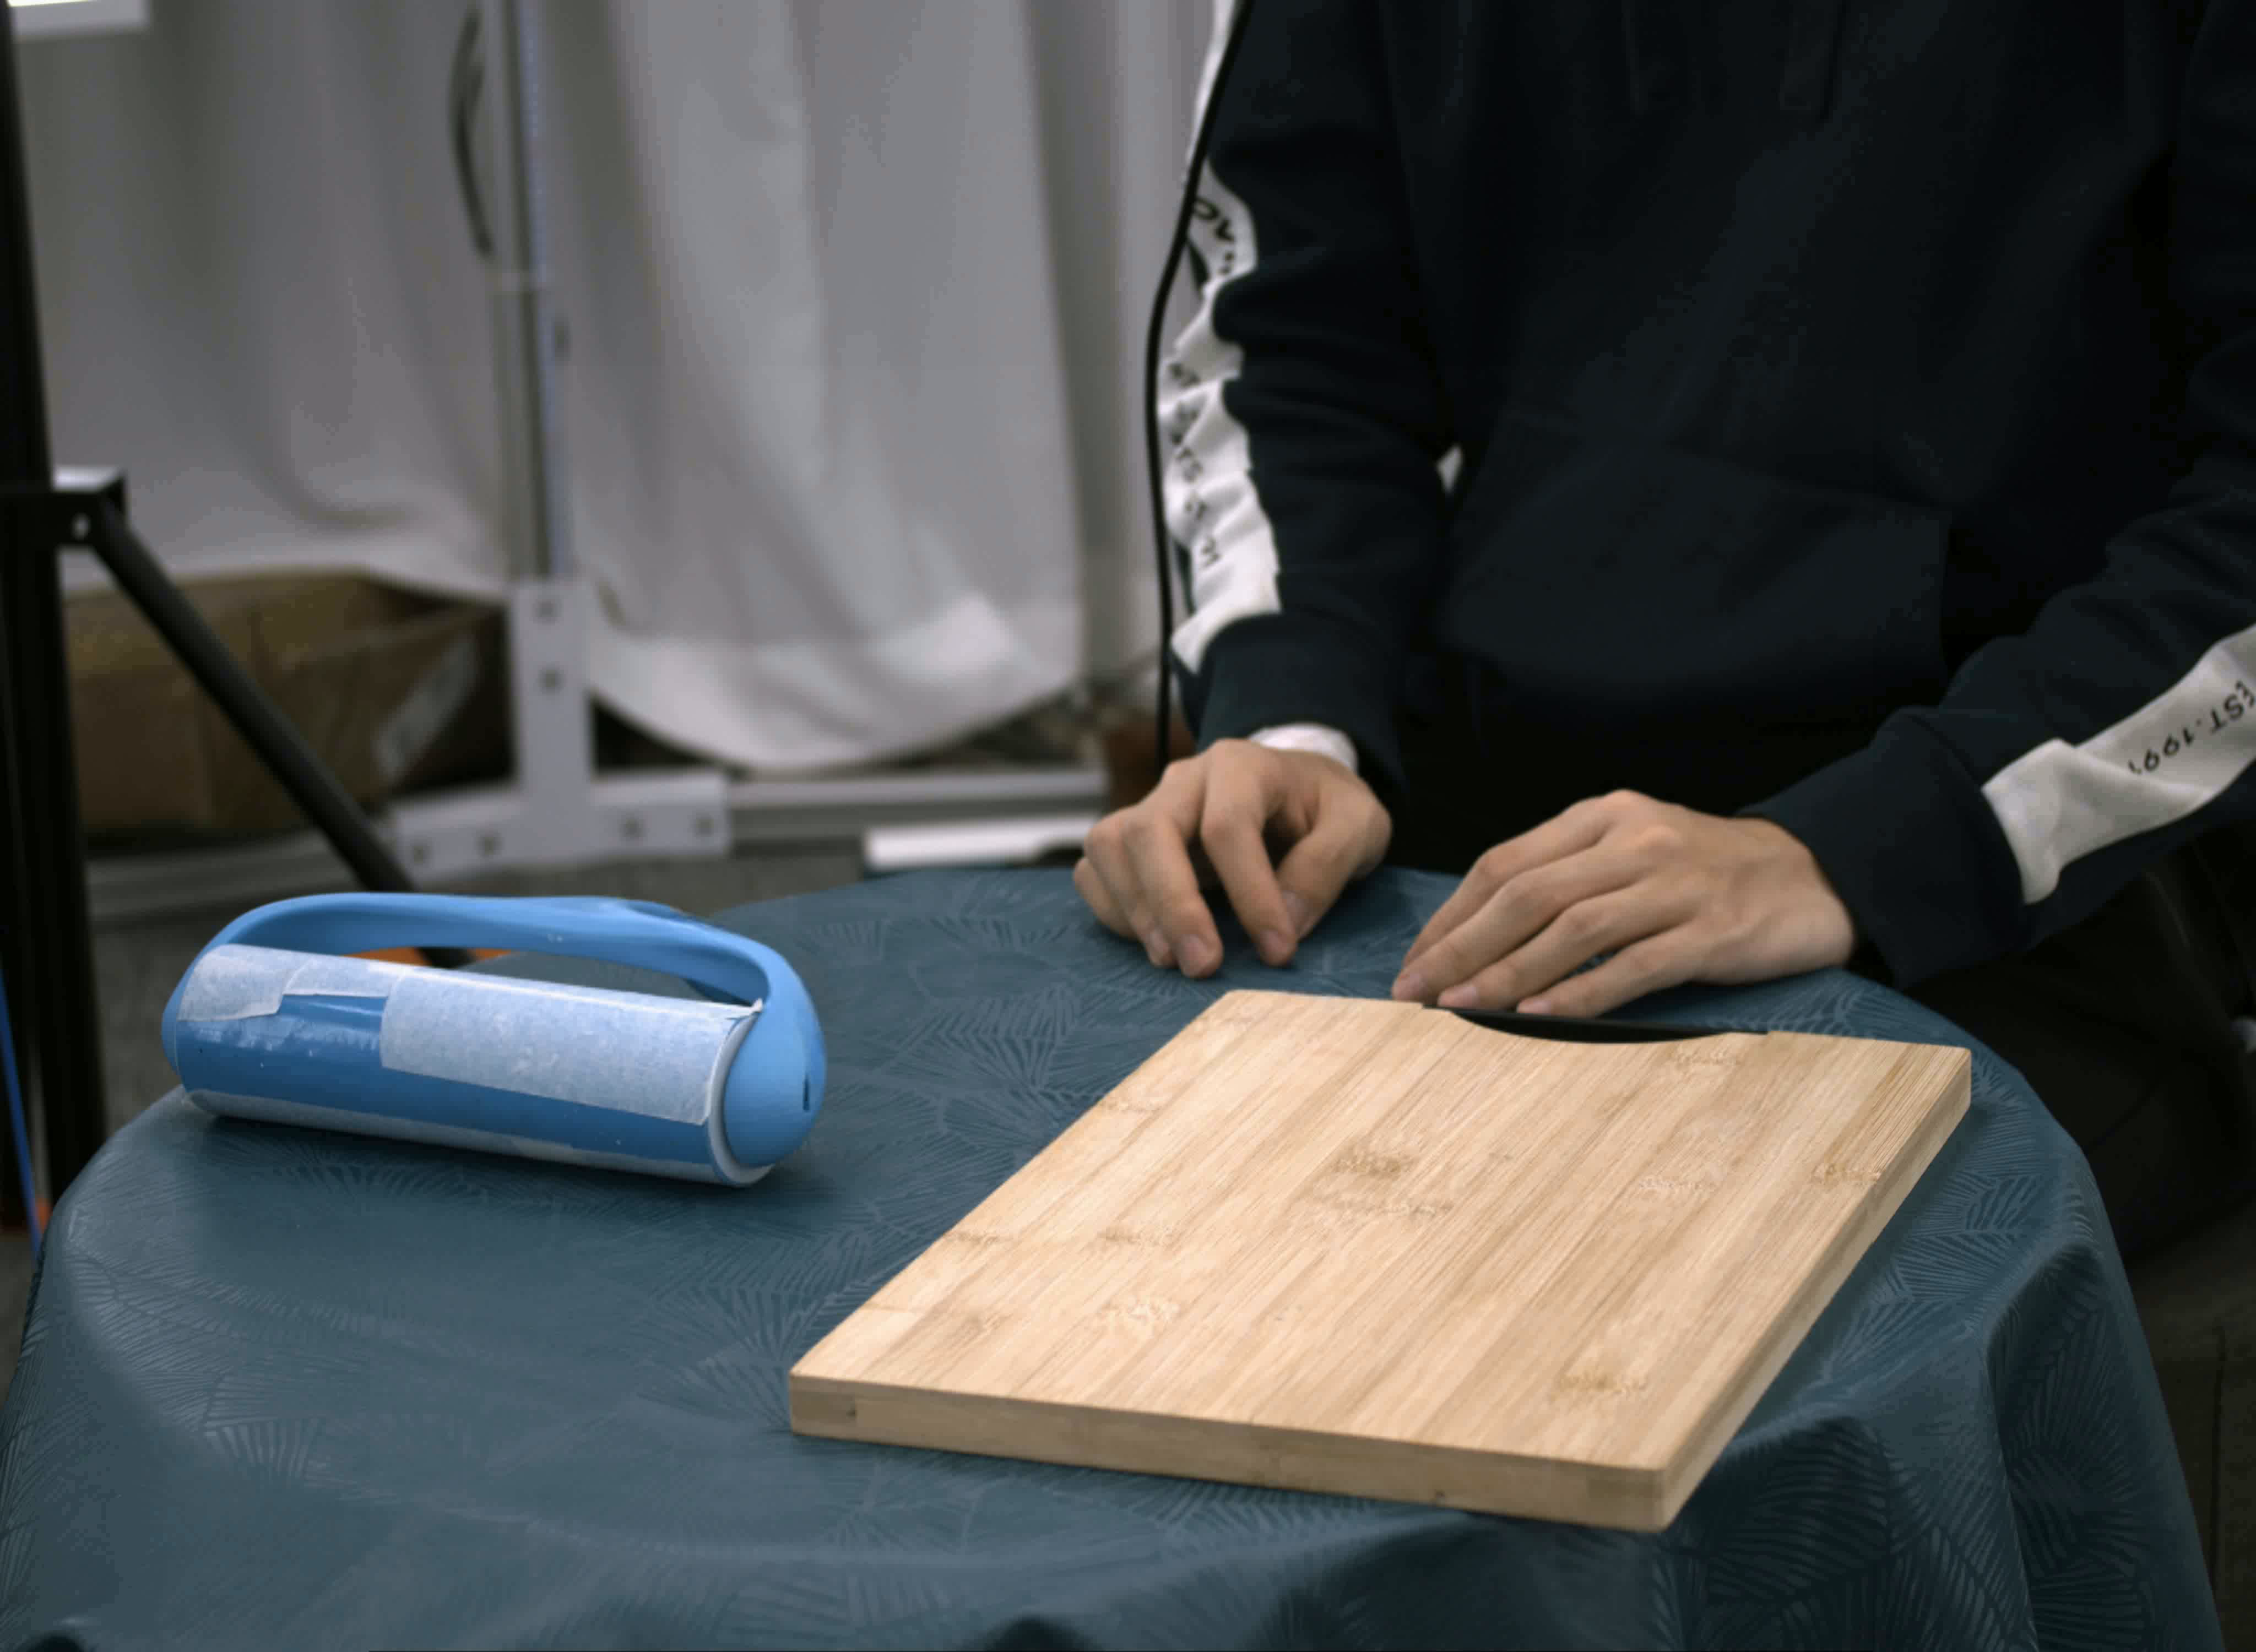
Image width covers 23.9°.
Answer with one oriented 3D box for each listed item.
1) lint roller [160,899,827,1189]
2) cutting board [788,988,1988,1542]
[{"bbox_3d":[-0.172,0.055,1.670,0.232,0.068,0.177,3,17,26],"label":"lint roller"},{"bbox_3d":[0.085,0.114,1.493,0.254,0.023,0.344,4,17,21],"label":"cutting board"}]
